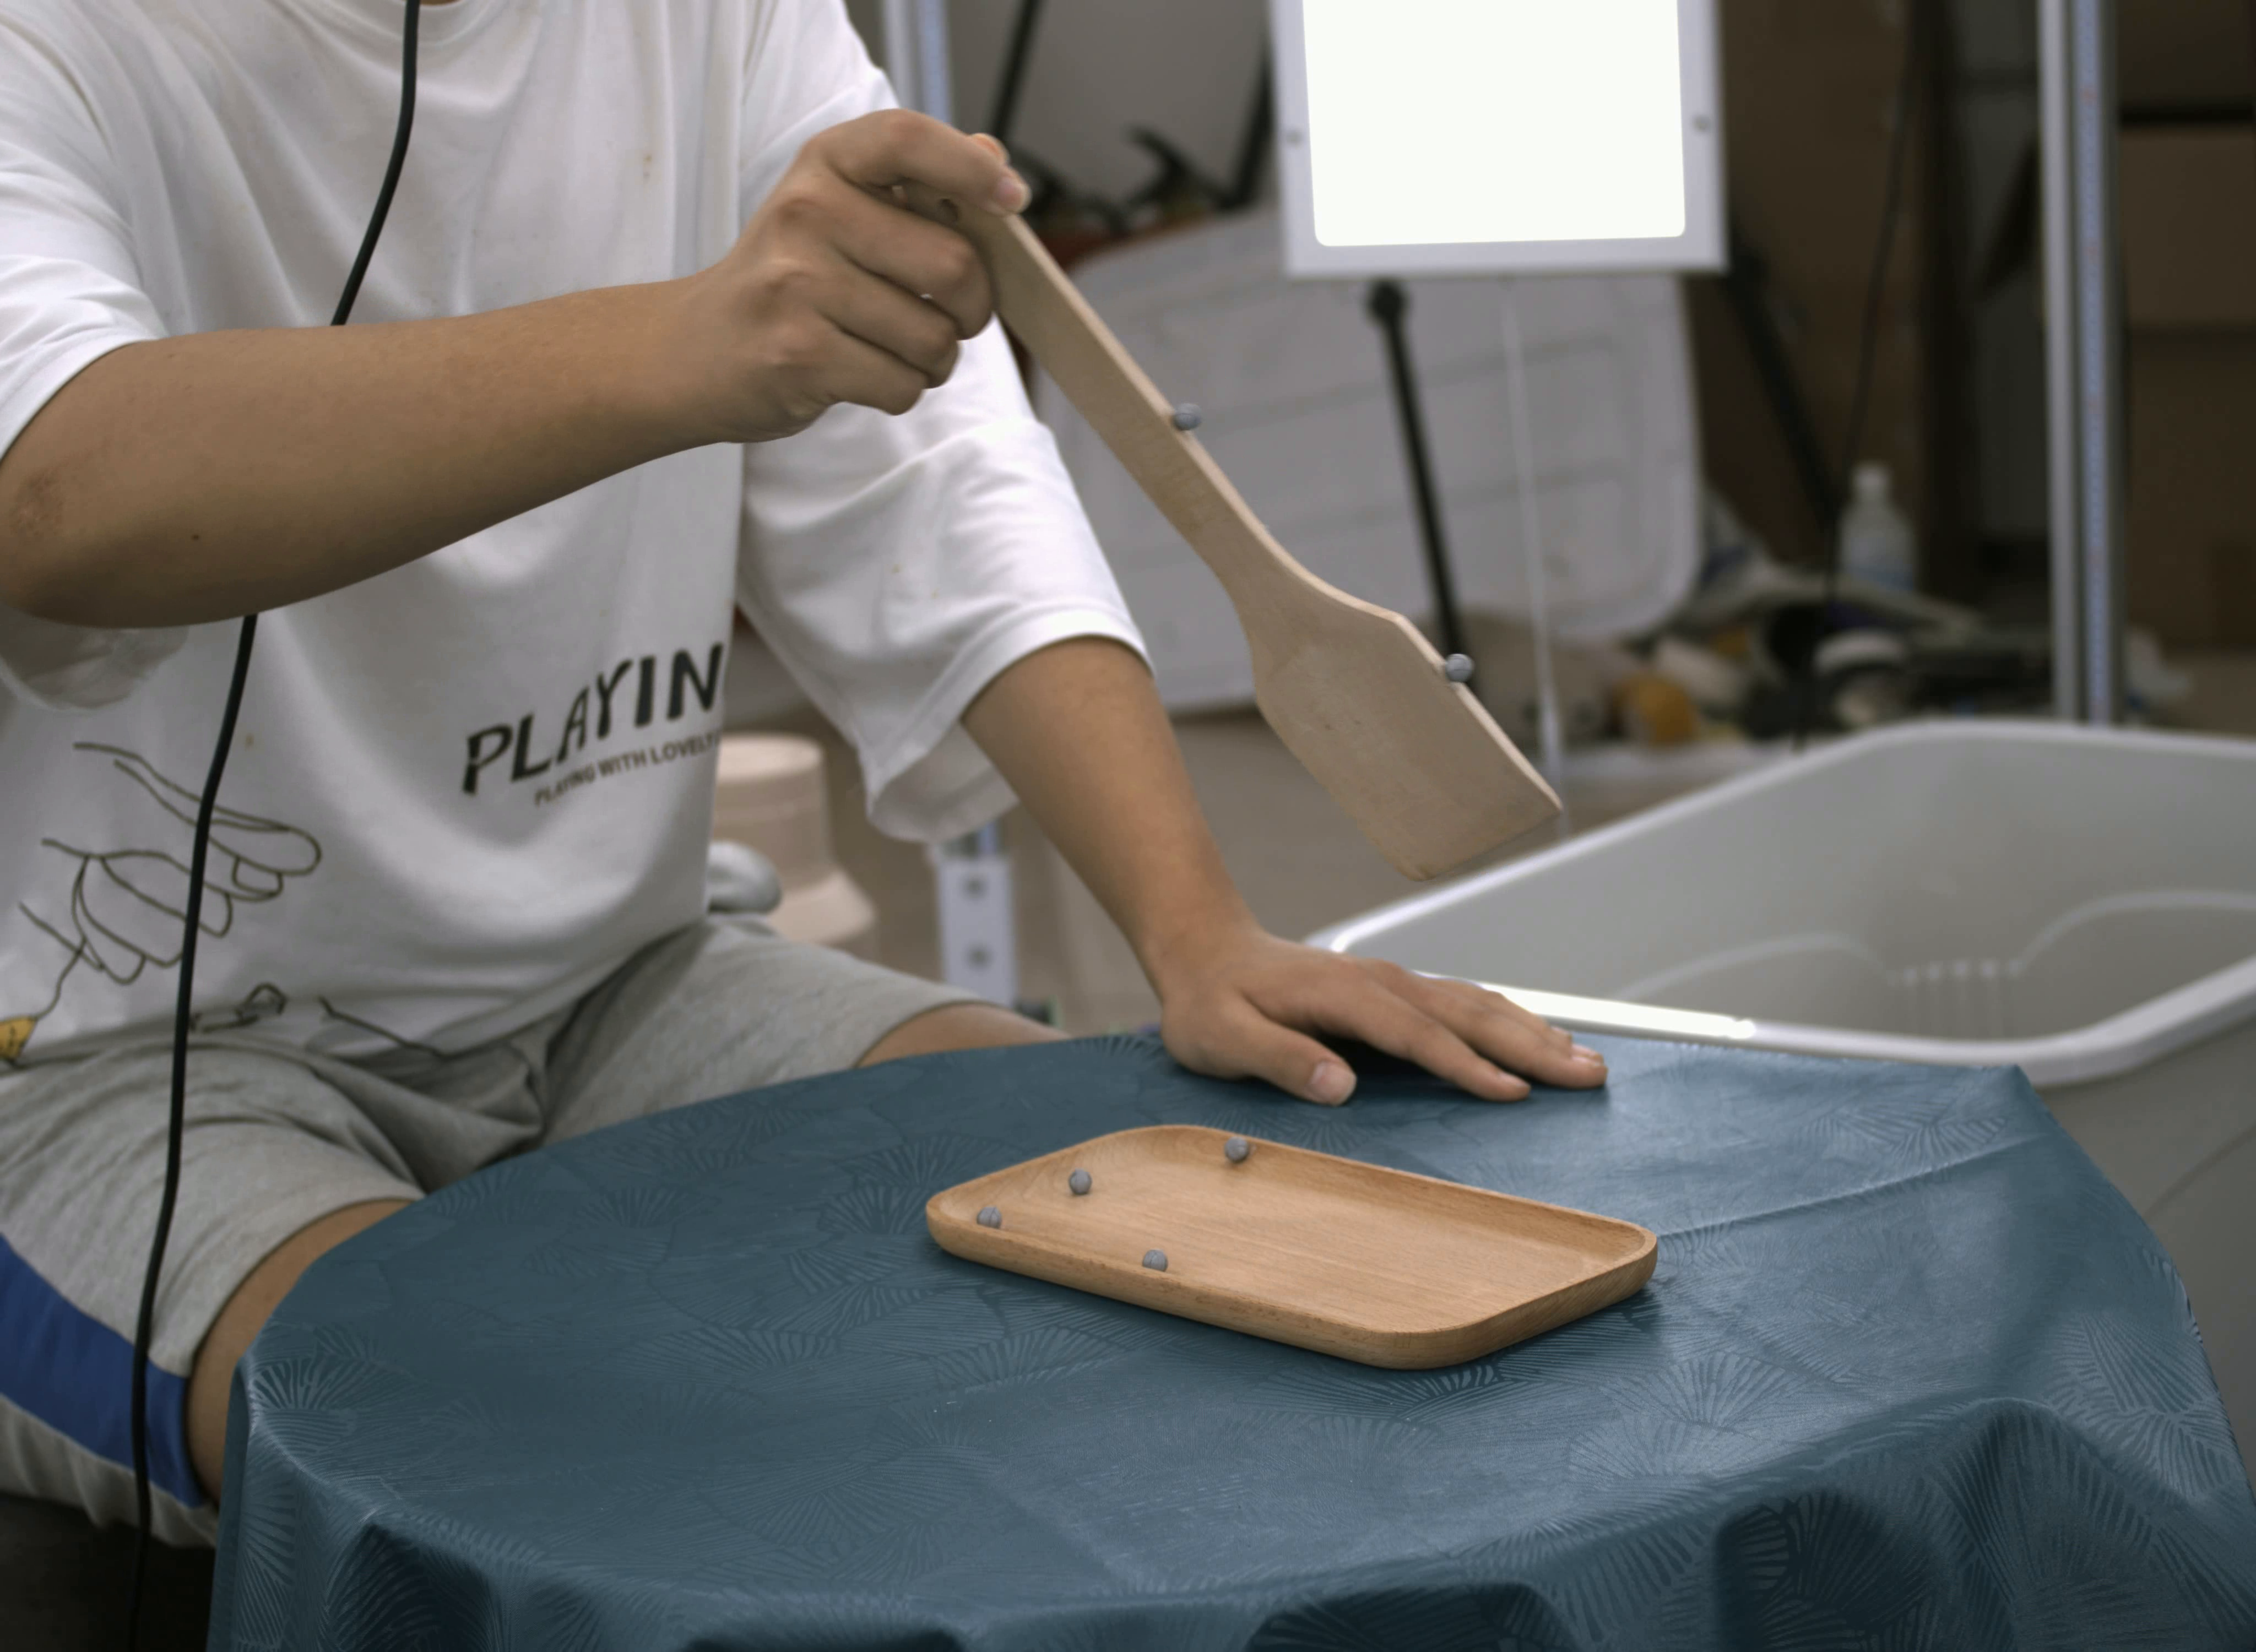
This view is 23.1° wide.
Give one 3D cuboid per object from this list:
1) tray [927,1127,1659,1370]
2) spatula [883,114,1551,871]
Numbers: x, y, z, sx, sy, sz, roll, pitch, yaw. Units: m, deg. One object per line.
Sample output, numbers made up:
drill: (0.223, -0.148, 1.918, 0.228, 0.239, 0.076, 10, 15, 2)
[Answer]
tray: (0.052, 0.136, 1.804, 0.127, 0.023, 0.256, -19, 19, -37)
spatula: (0.022, -0.104, 1.703, 0.074, 0.292, 0.010, -28, 17, 45)
